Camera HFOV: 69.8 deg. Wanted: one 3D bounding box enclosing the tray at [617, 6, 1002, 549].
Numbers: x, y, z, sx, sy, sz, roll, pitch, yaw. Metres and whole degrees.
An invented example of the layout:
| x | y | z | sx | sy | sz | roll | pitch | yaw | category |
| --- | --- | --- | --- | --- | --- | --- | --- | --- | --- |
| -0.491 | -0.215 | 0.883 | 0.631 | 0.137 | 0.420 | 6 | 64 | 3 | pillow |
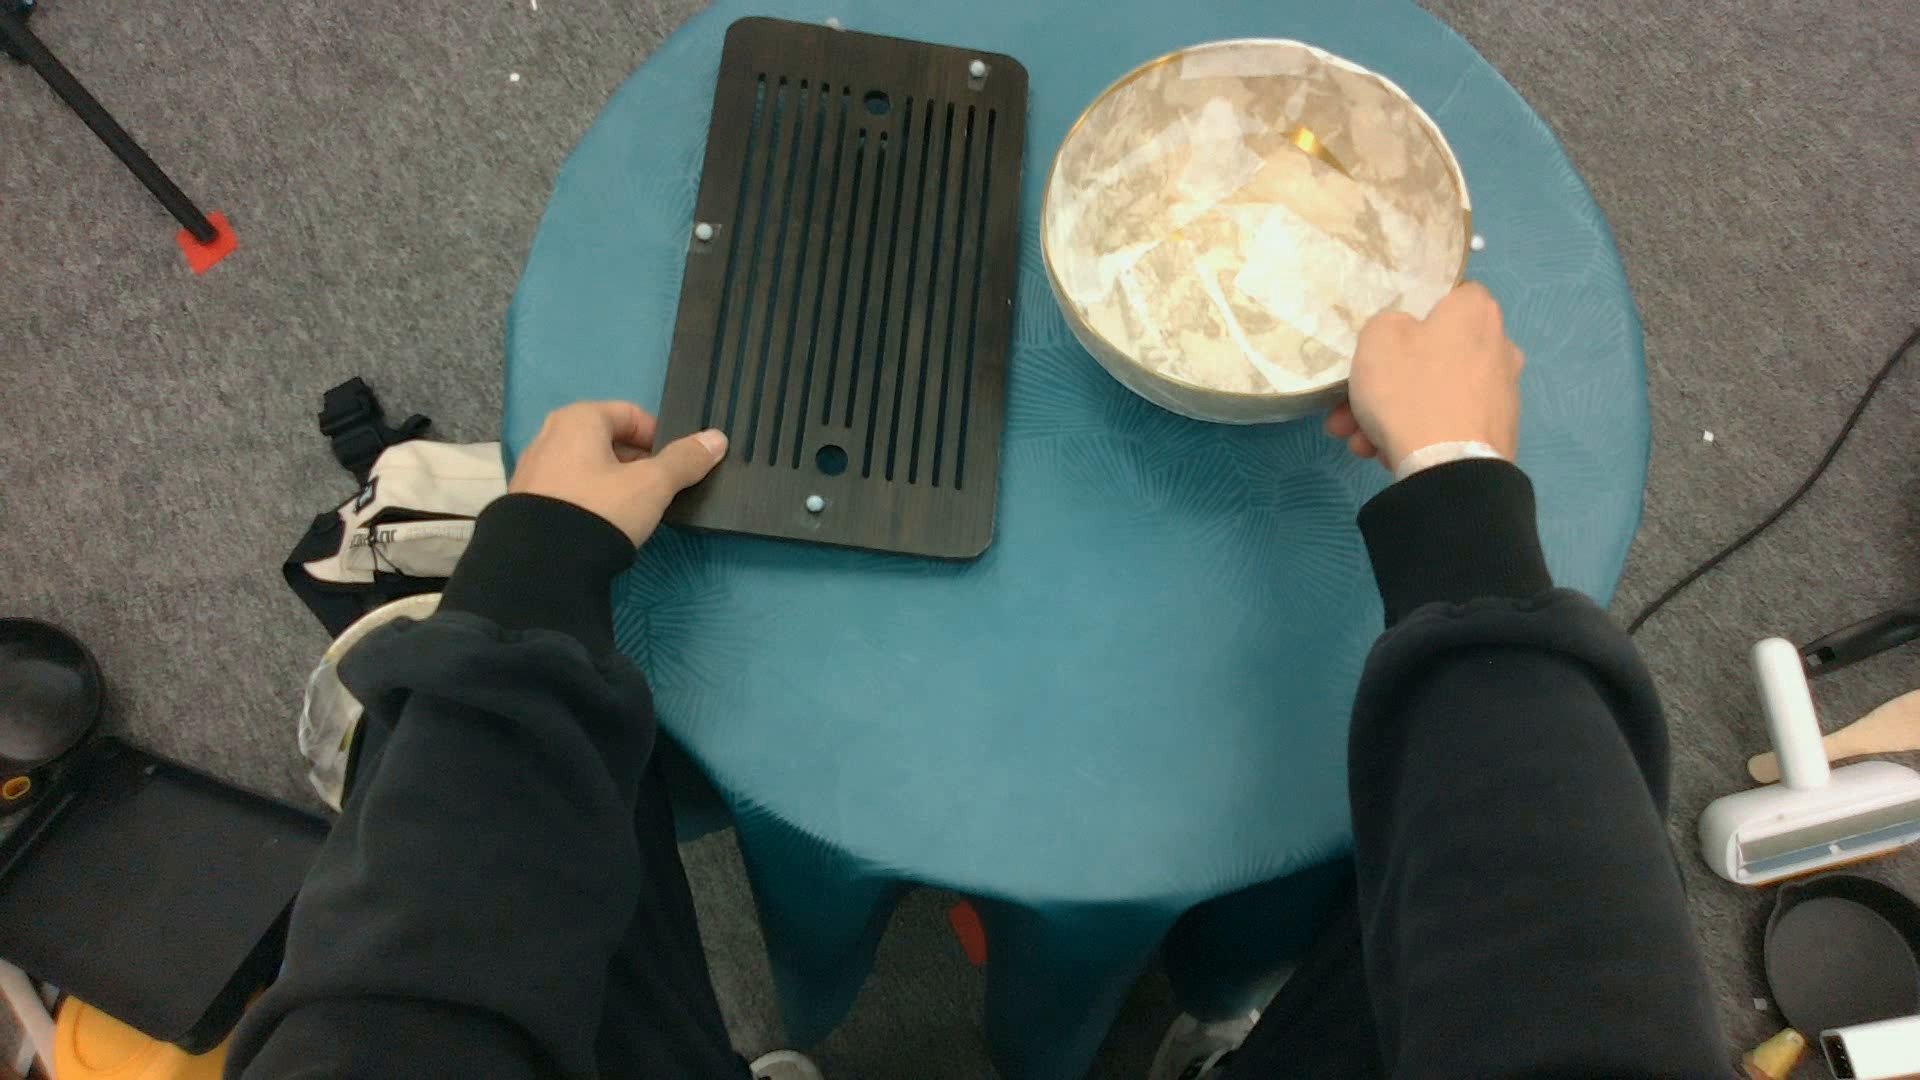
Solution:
| x | y | z | sx | sy | sz | roll | pitch | yaw | category |
| --- | --- | --- | --- | --- | --- | --- | --- | --- | --- |
| -0.071 | -0.145 | 0.722 | 0.170 | 0.018 | 0.307 | 7 | 68 | -6 | tray |

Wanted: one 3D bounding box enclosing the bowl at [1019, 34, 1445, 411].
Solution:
| x | y | z | sx | sy | sz | roll | pitch | yaw | category |
| --- | --- | --- | --- | --- | --- | --- | --- | --- | --- |
| 0.128 | -0.144 | 0.695 | 0.214 | 0.094 | 0.215 | -1 | 67 | 2 | bowl |
